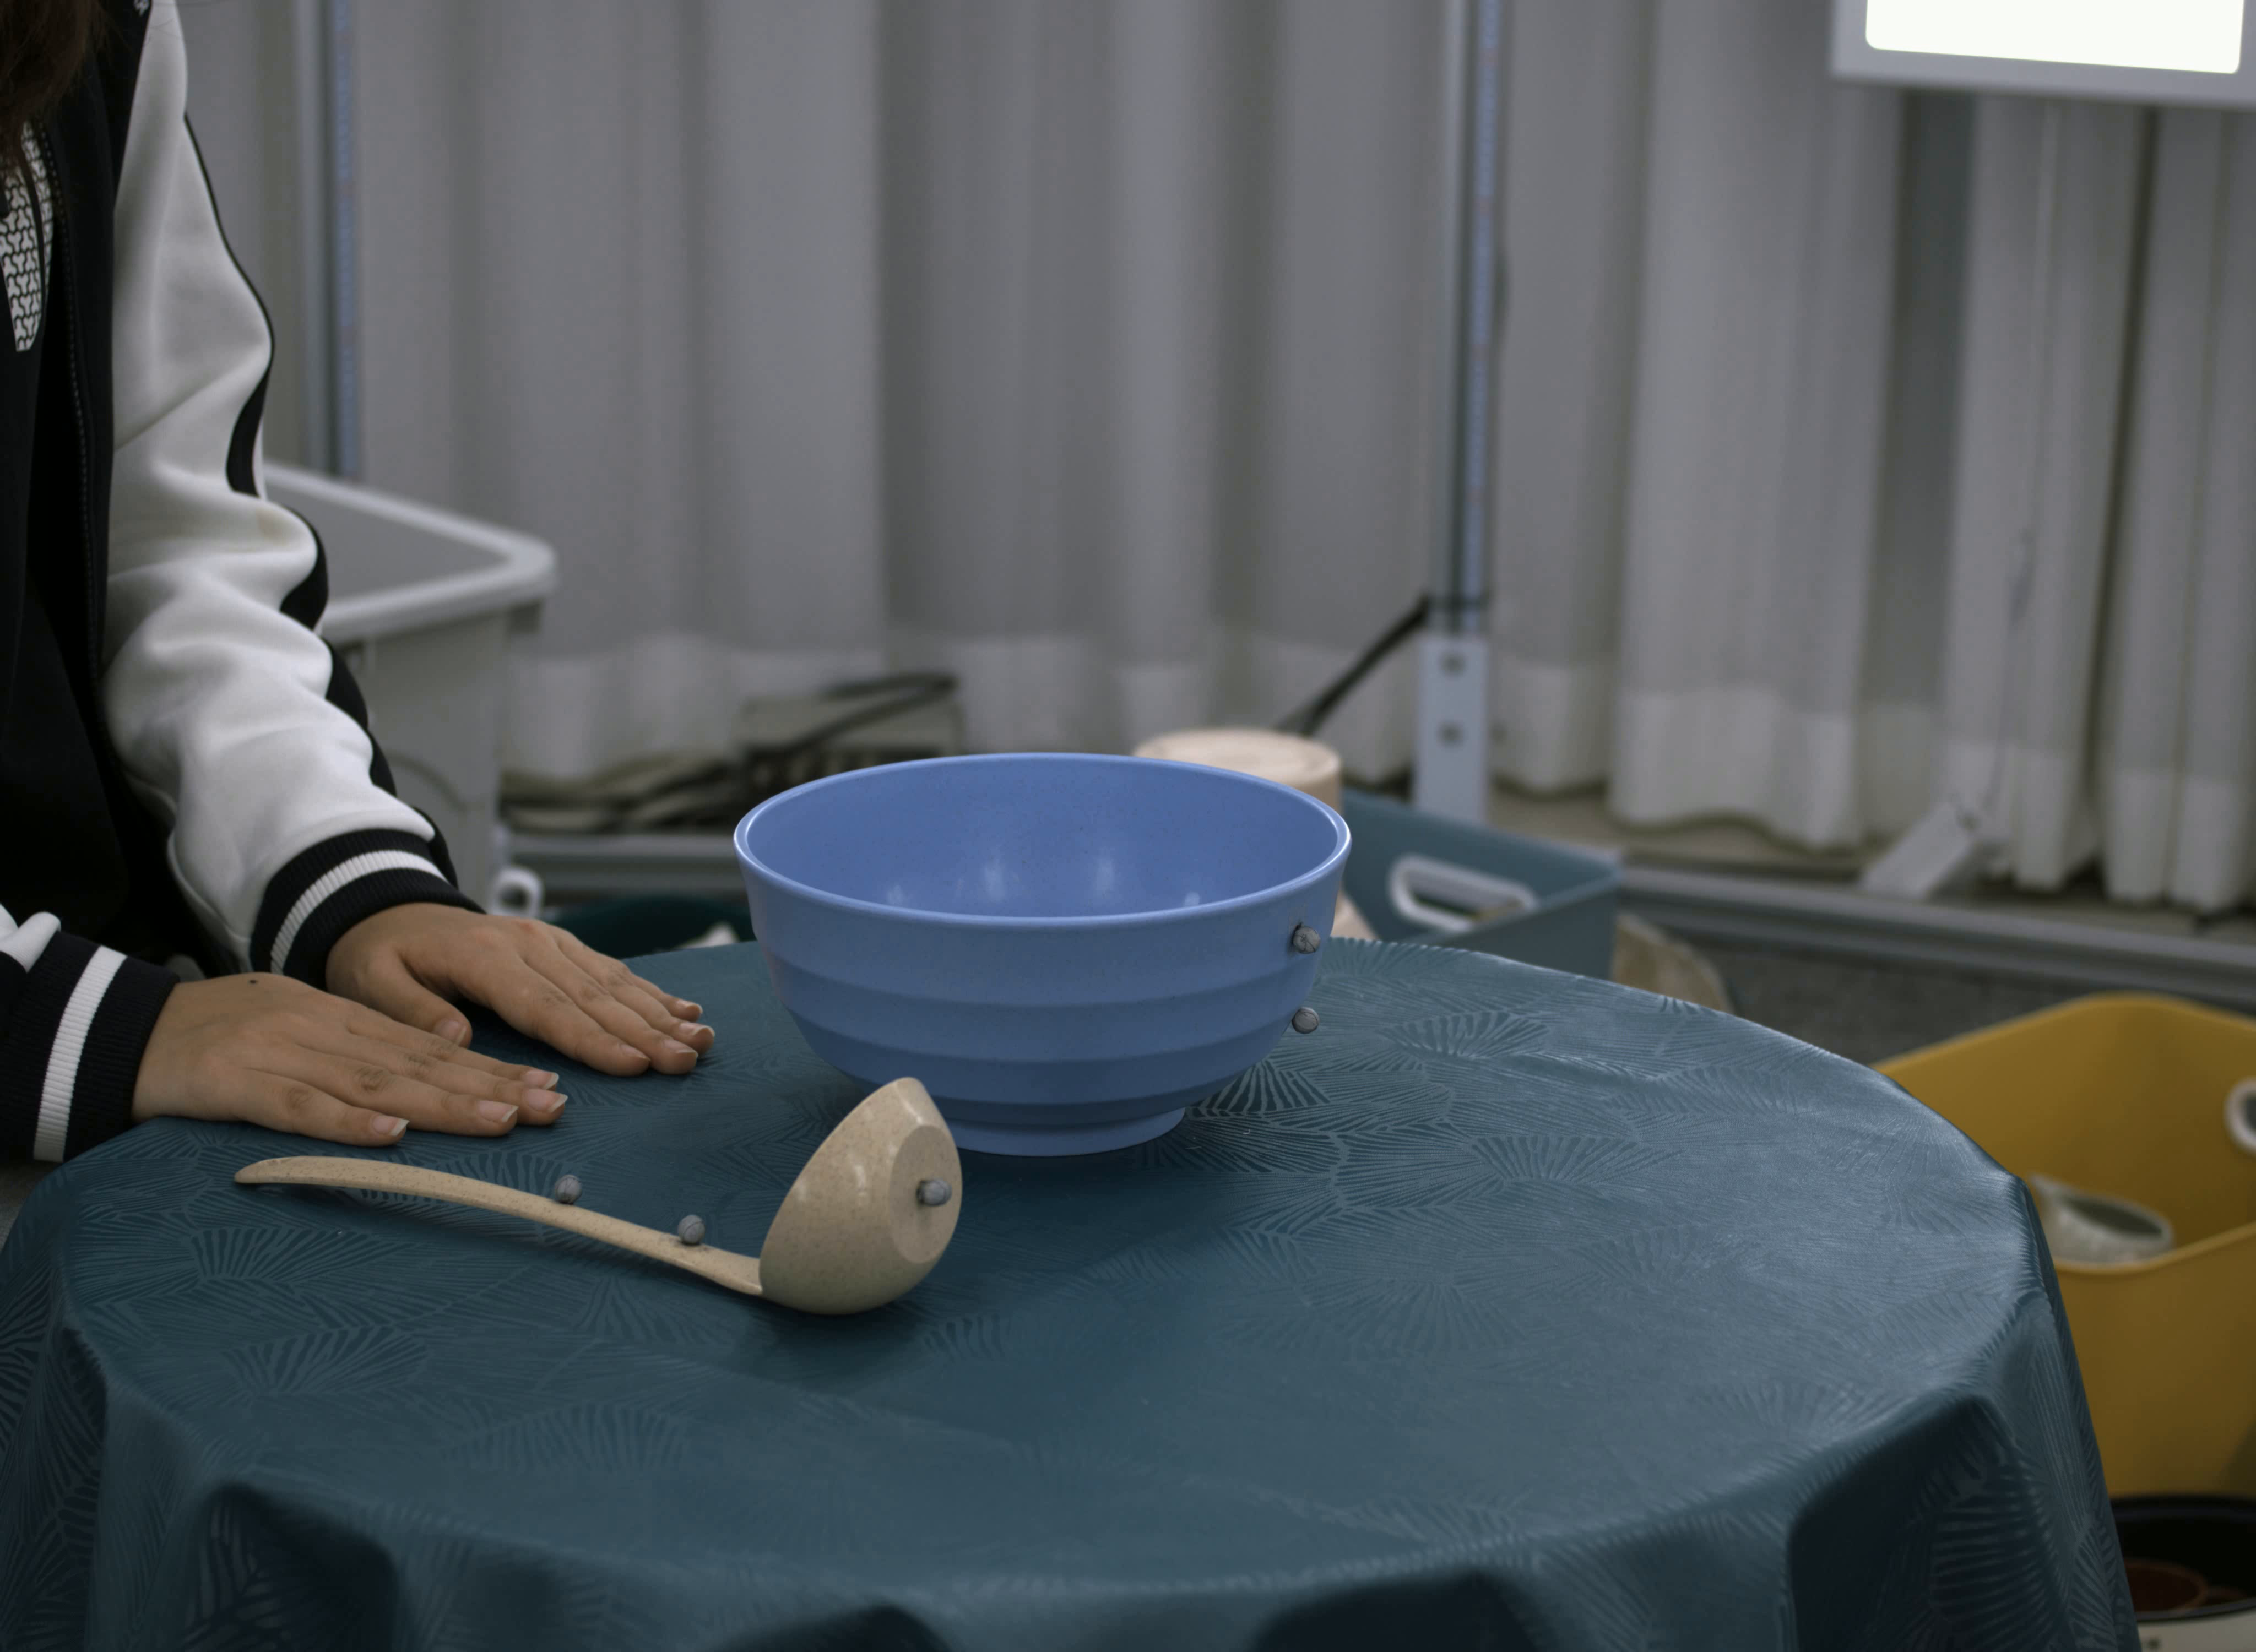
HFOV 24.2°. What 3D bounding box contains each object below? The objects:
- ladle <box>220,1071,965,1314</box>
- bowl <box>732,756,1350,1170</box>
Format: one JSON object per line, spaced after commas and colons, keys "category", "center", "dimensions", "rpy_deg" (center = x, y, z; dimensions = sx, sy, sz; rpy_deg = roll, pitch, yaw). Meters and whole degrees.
{"category": "ladle", "center": [-0.166, 0.092, 1.553], "dimensions": [0.251, 0.073, 0.072], "rpy_deg": [8, 17, 26]}
{"category": "bowl", "center": [-0.026, 0.050, 1.682], "dimensions": [0.196, 0.096, 0.195], "rpy_deg": [-1, 17, 1]}
